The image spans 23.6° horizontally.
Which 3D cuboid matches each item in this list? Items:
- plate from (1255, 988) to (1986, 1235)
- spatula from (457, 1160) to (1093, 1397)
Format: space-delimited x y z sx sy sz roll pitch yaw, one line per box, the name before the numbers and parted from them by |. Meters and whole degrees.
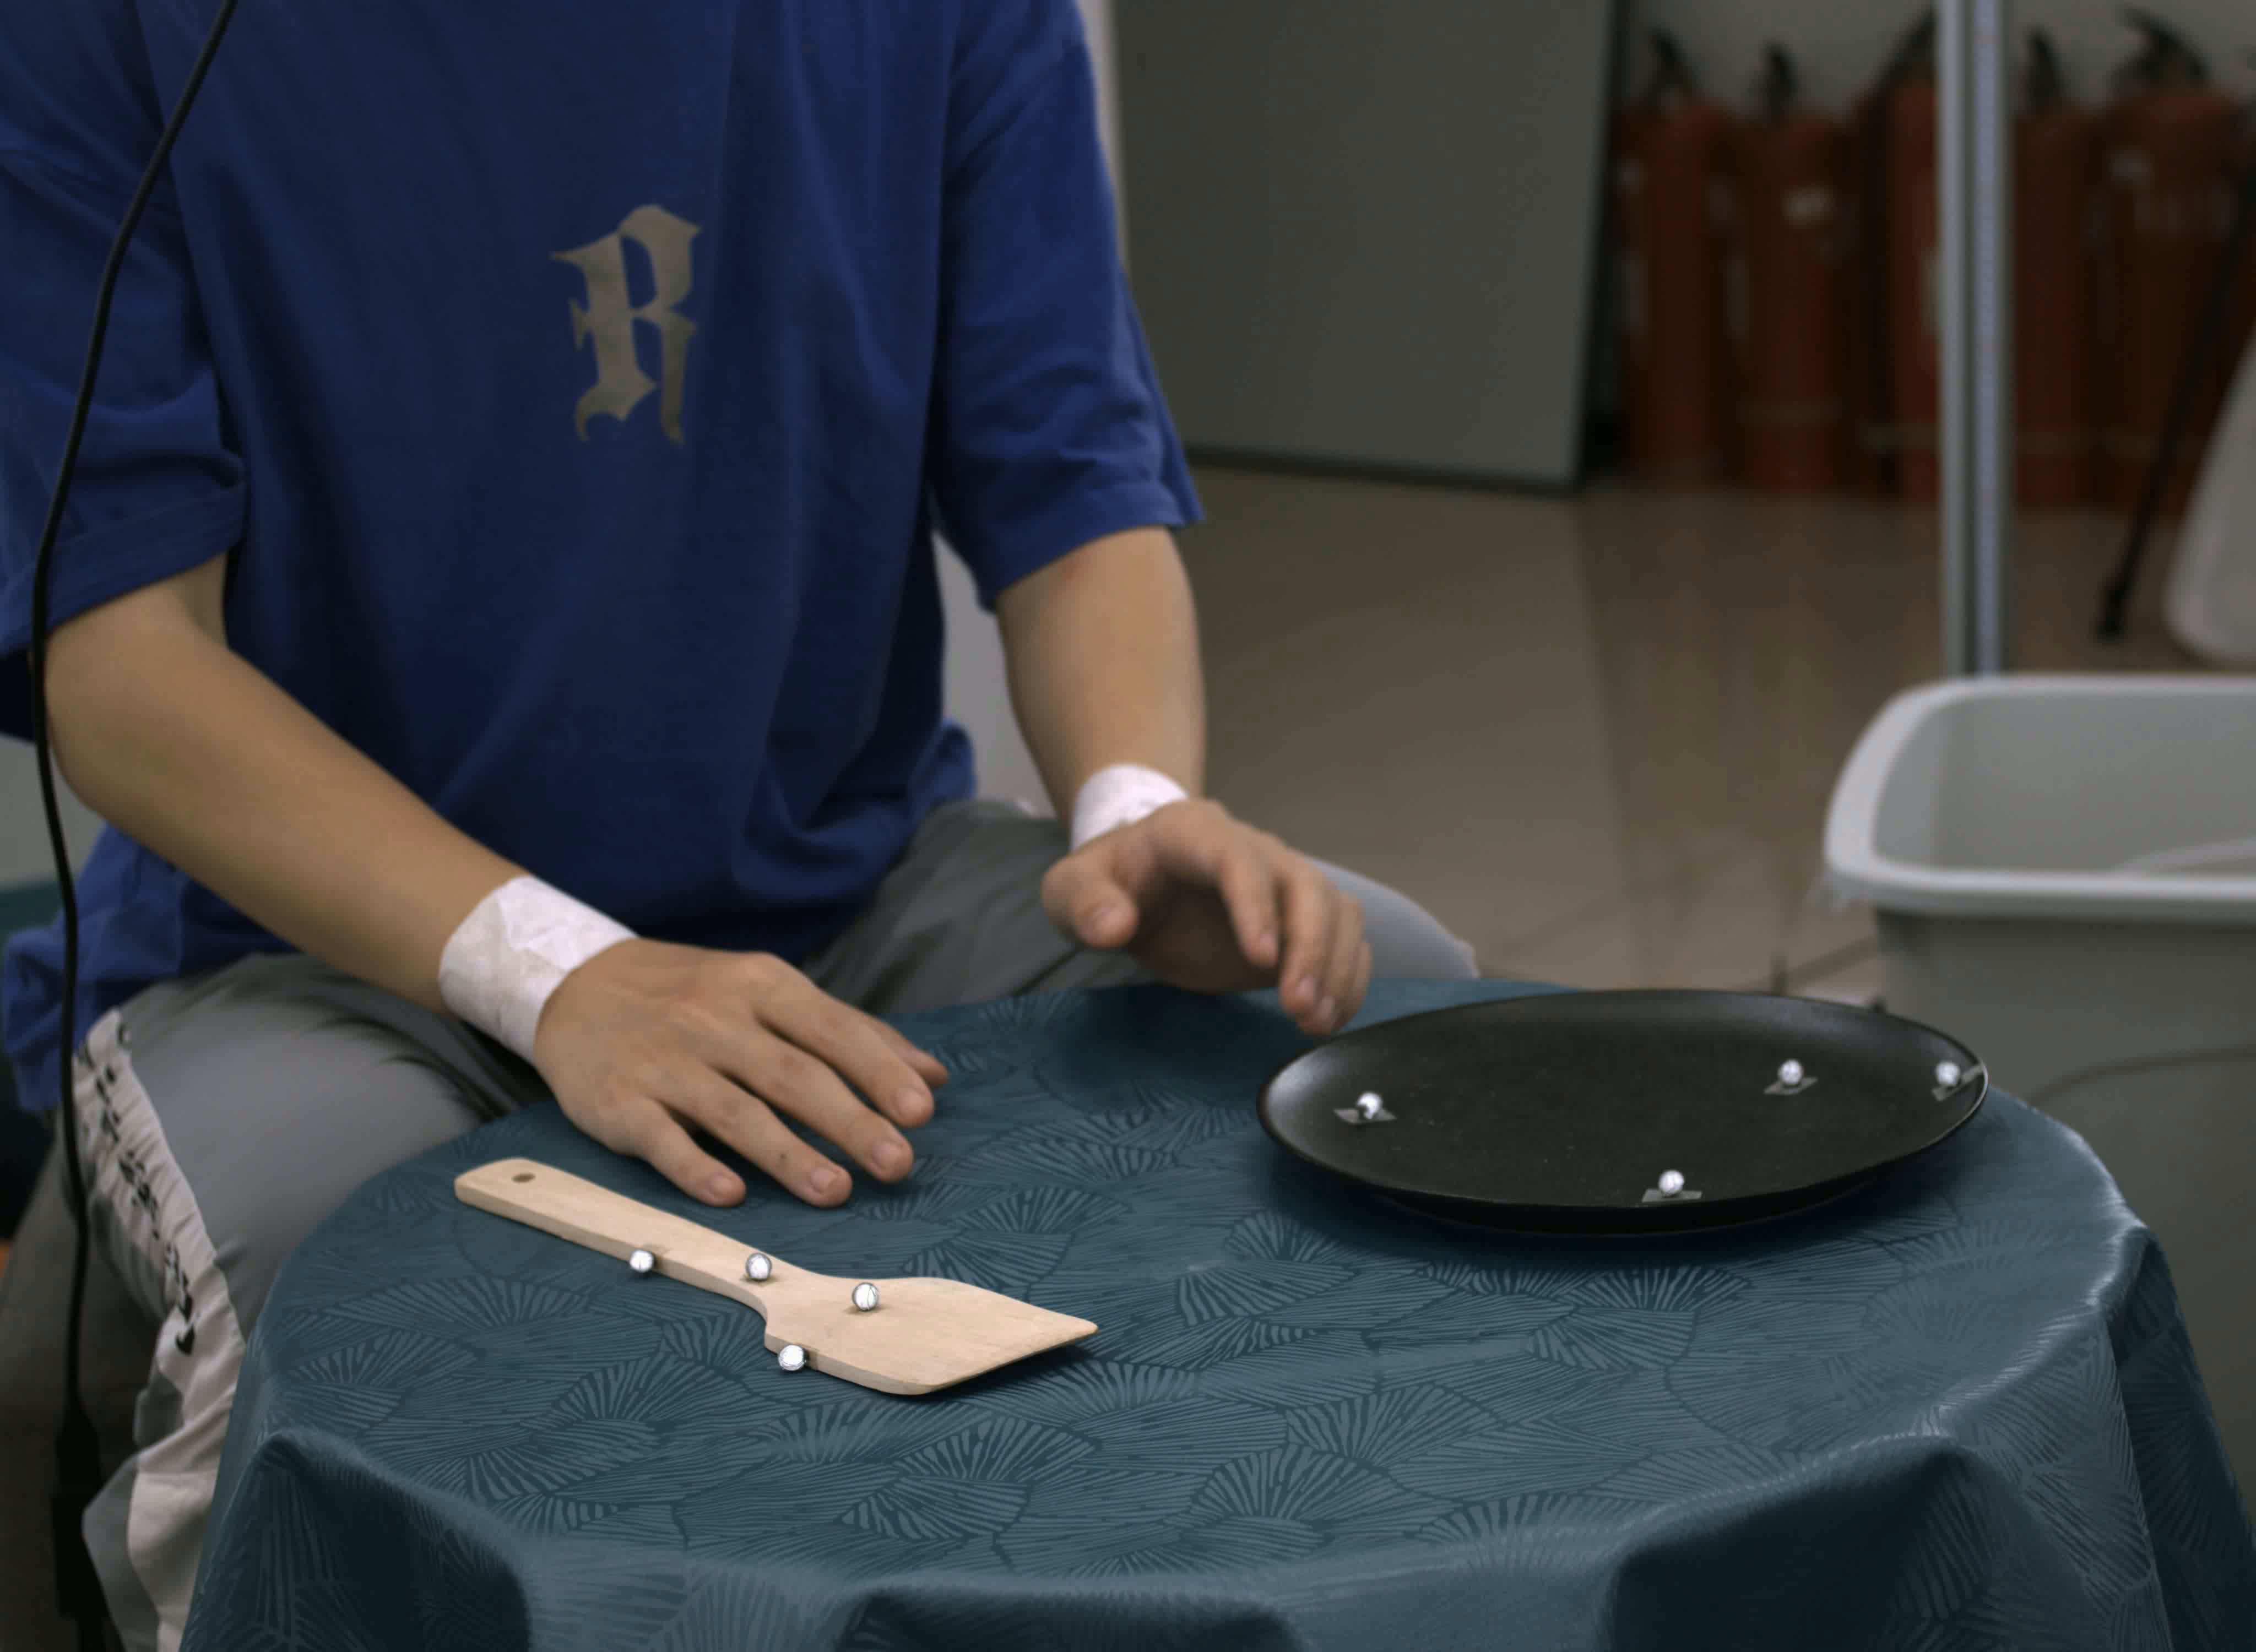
plate | 0.162 0.097 1.776 0.241 0.024 0.245 -4 14 0
spatula | -0.126 0.140 1.712 0.071 0.011 0.296 -16 18 -36
